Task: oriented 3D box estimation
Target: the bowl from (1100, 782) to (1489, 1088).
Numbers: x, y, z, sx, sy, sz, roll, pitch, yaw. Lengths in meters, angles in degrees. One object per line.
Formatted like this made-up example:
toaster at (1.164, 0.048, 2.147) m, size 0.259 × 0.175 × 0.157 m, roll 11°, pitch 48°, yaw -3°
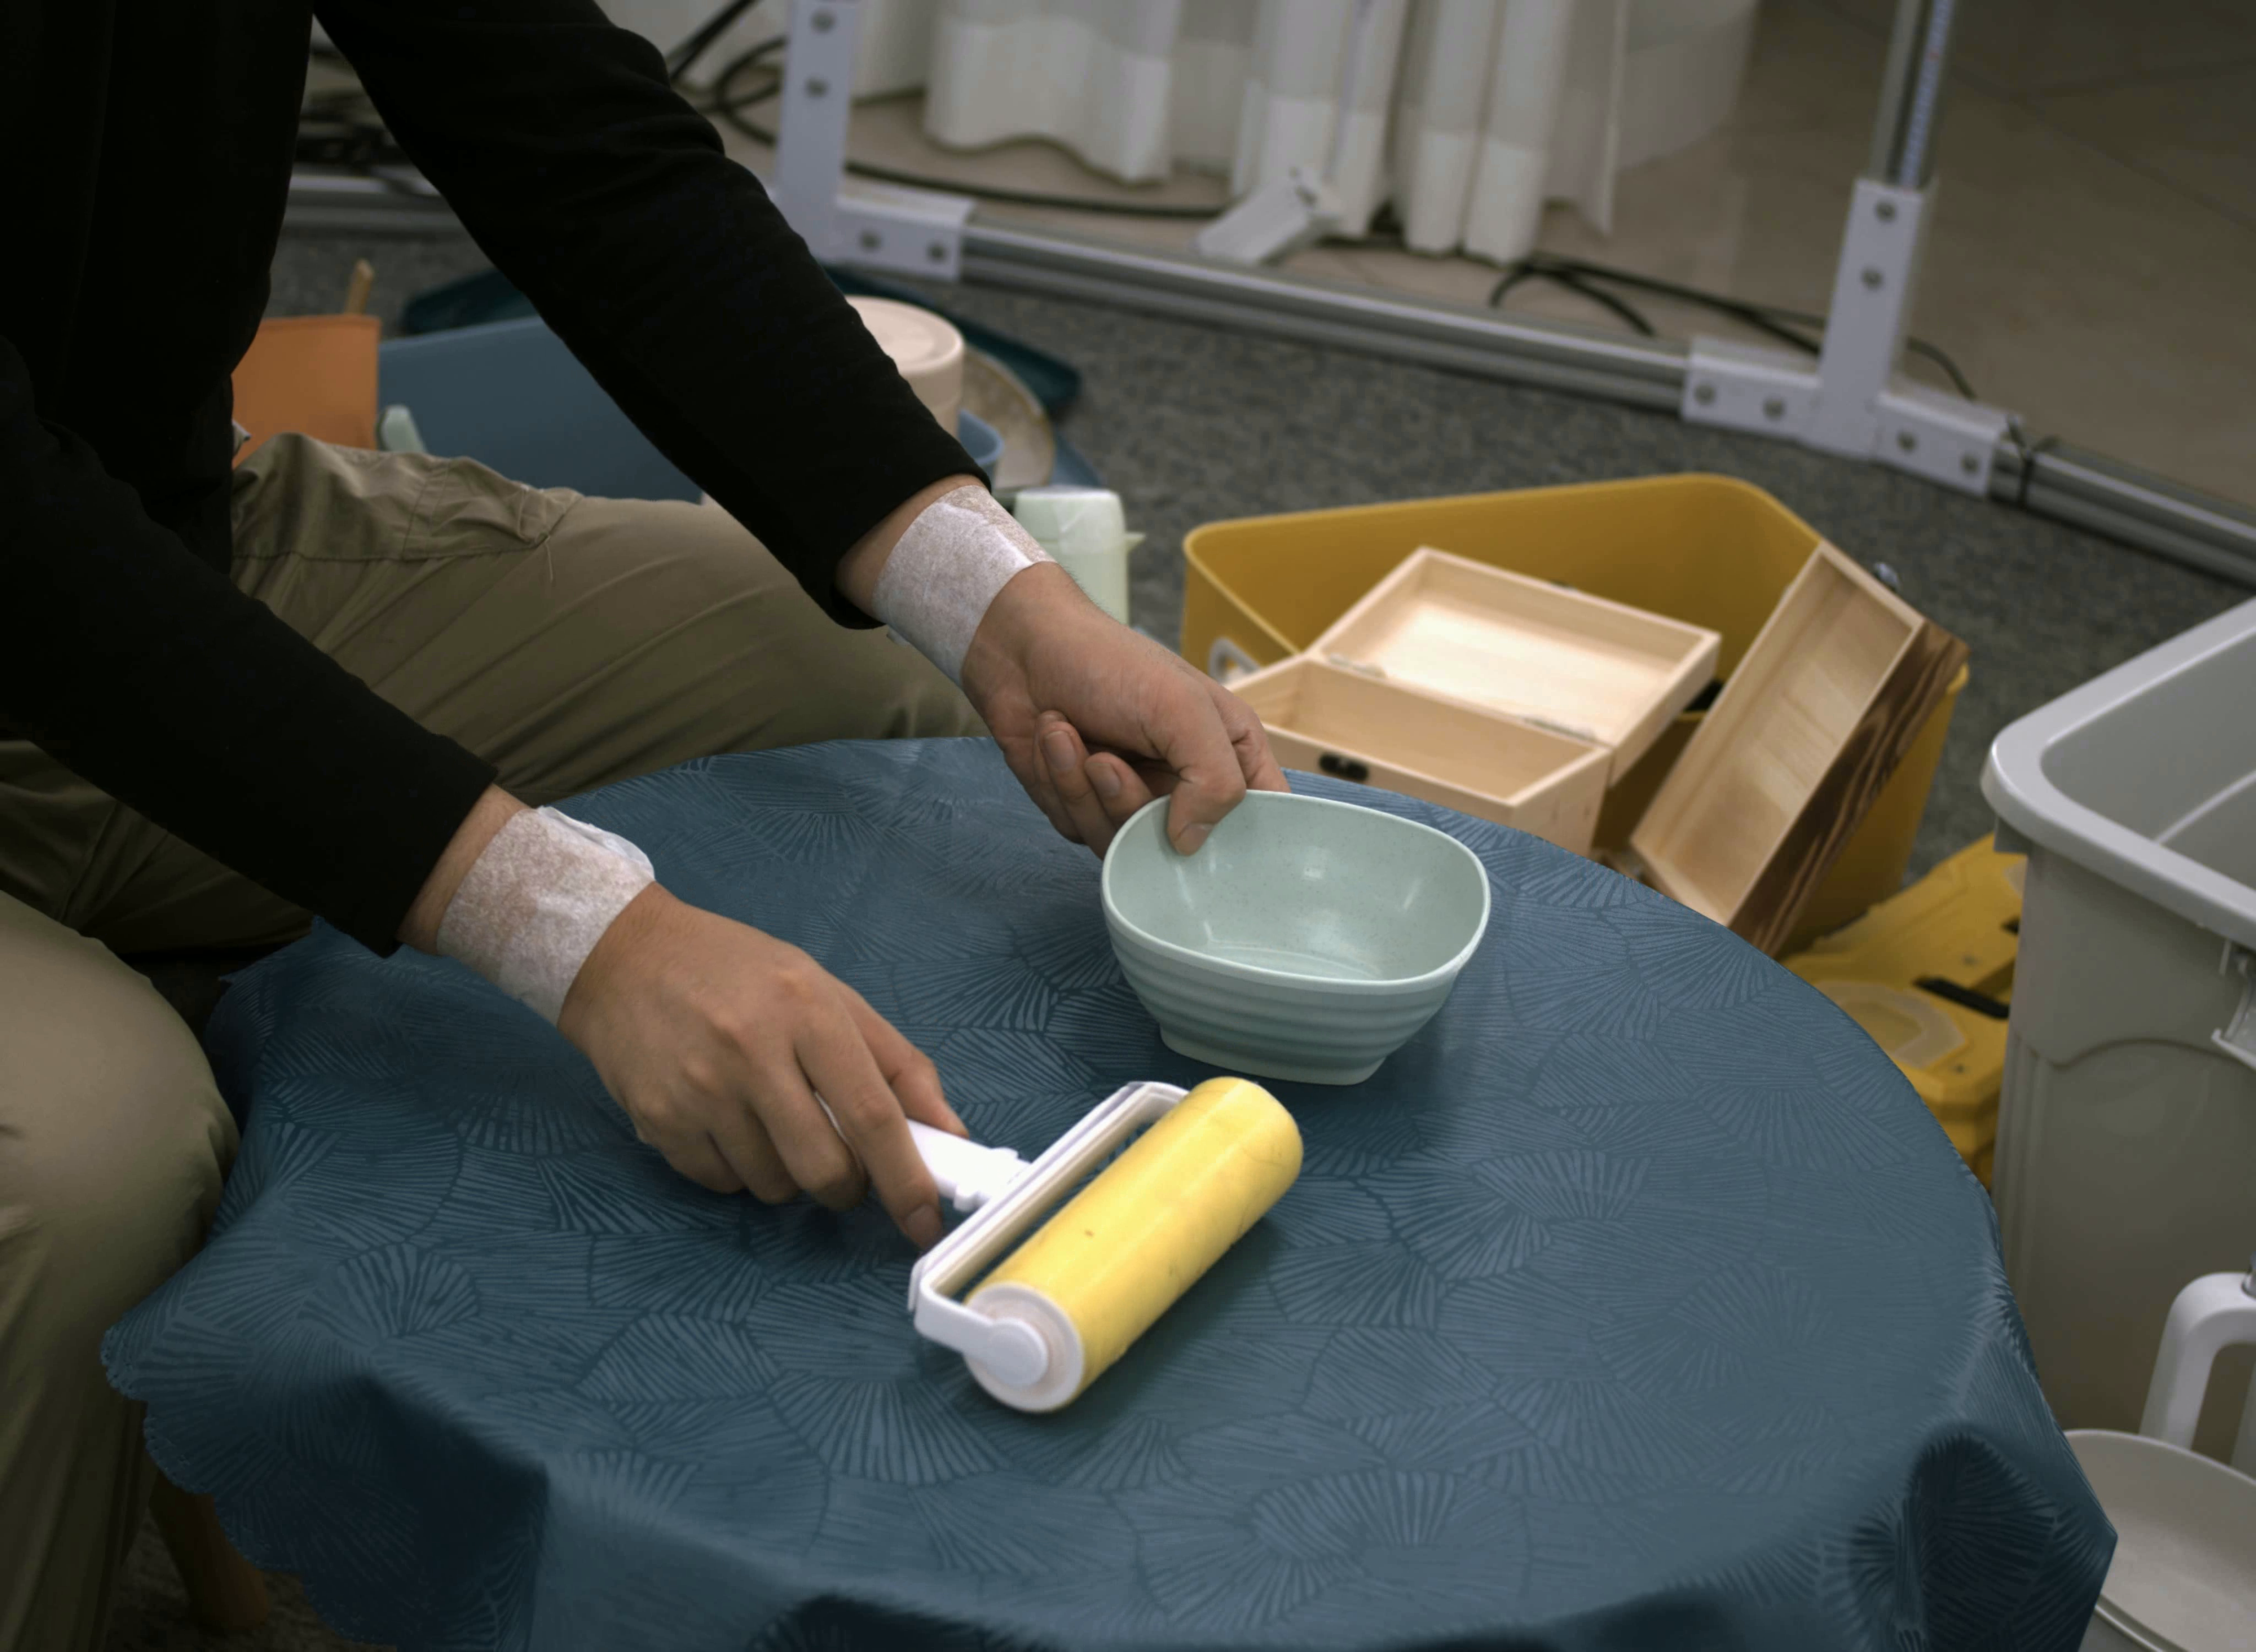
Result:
bowl at (0.056, 0.045, 1.906) m, size 0.151 × 0.058 × 0.152 m, roll 6°, pitch 28°, yaw -4°

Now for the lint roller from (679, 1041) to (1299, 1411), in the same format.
lint roller at (-0.060, 0.104, 1.745) m, size 0.192 × 0.051 × 0.174 m, roll 28°, pitch 31°, yaw 14°
